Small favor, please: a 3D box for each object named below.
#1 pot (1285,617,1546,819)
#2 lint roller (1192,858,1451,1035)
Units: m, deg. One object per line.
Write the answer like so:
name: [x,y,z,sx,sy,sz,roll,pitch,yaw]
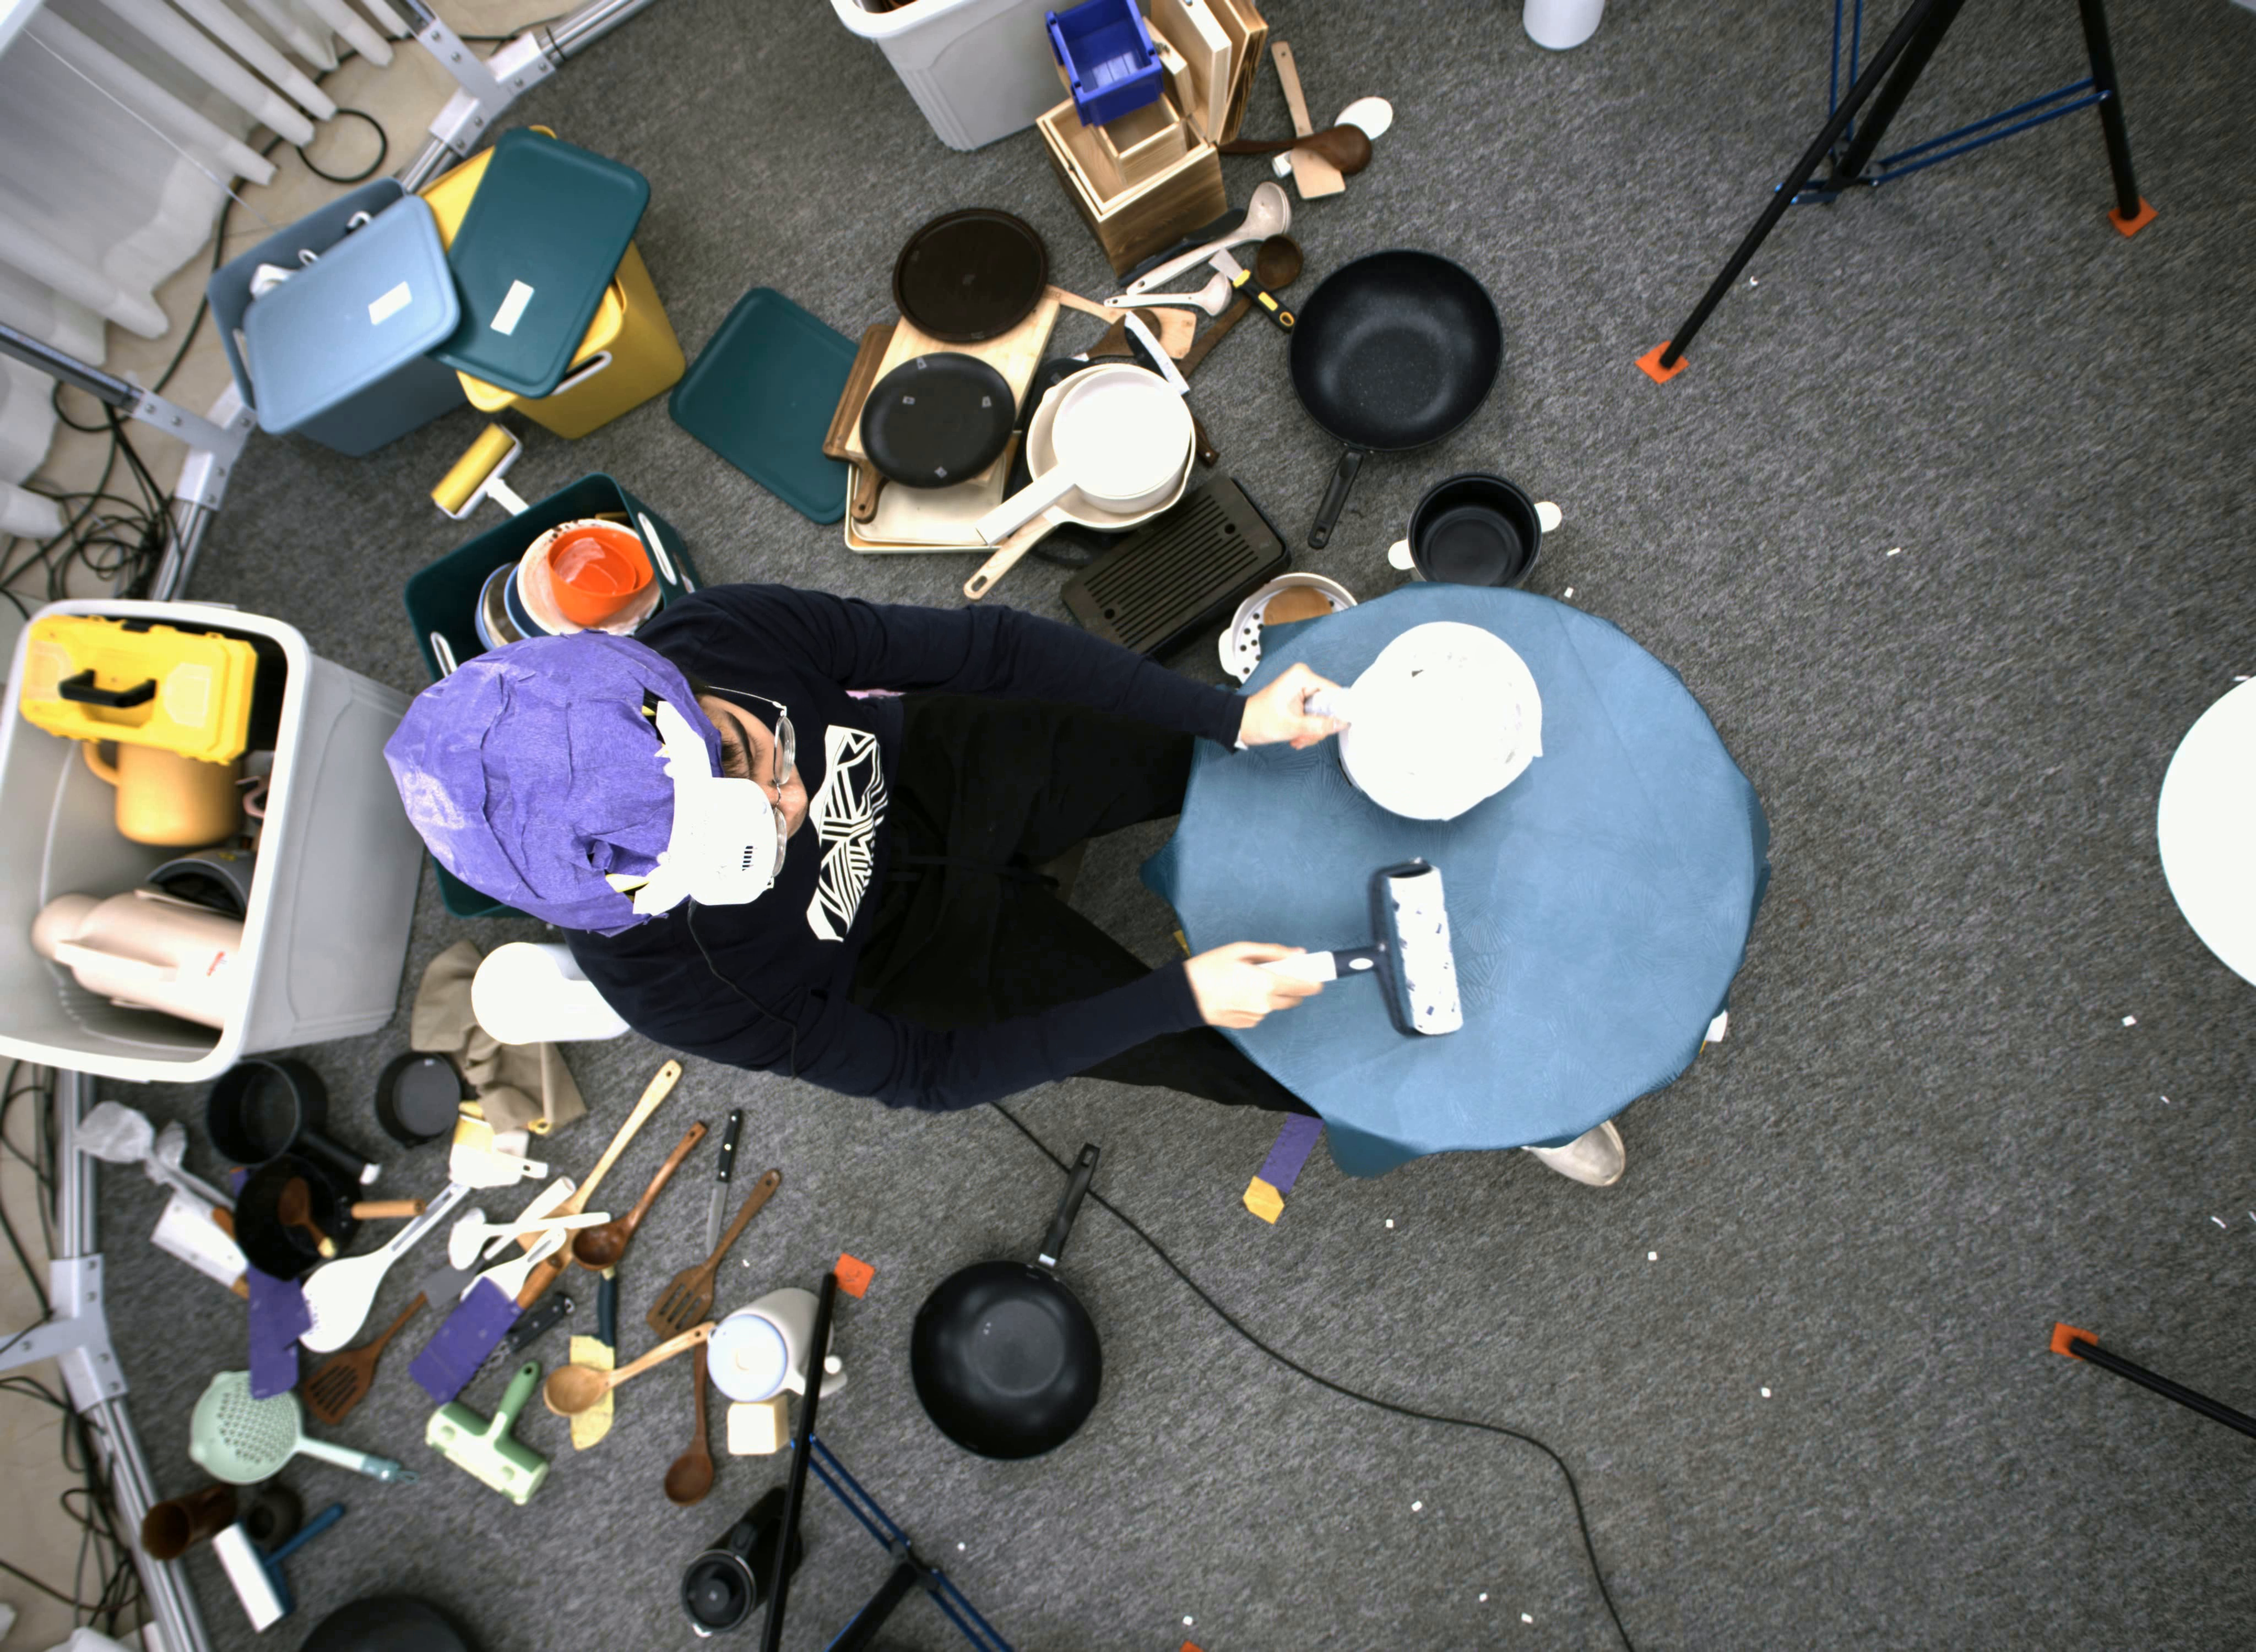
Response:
pot: [0.279,-0.106,1.367,0.234,0.138,0.176,6,76,-6]
lint roller: [0.184,0.139,1.366,0.248,0.049,0.178,-13,106,7]
